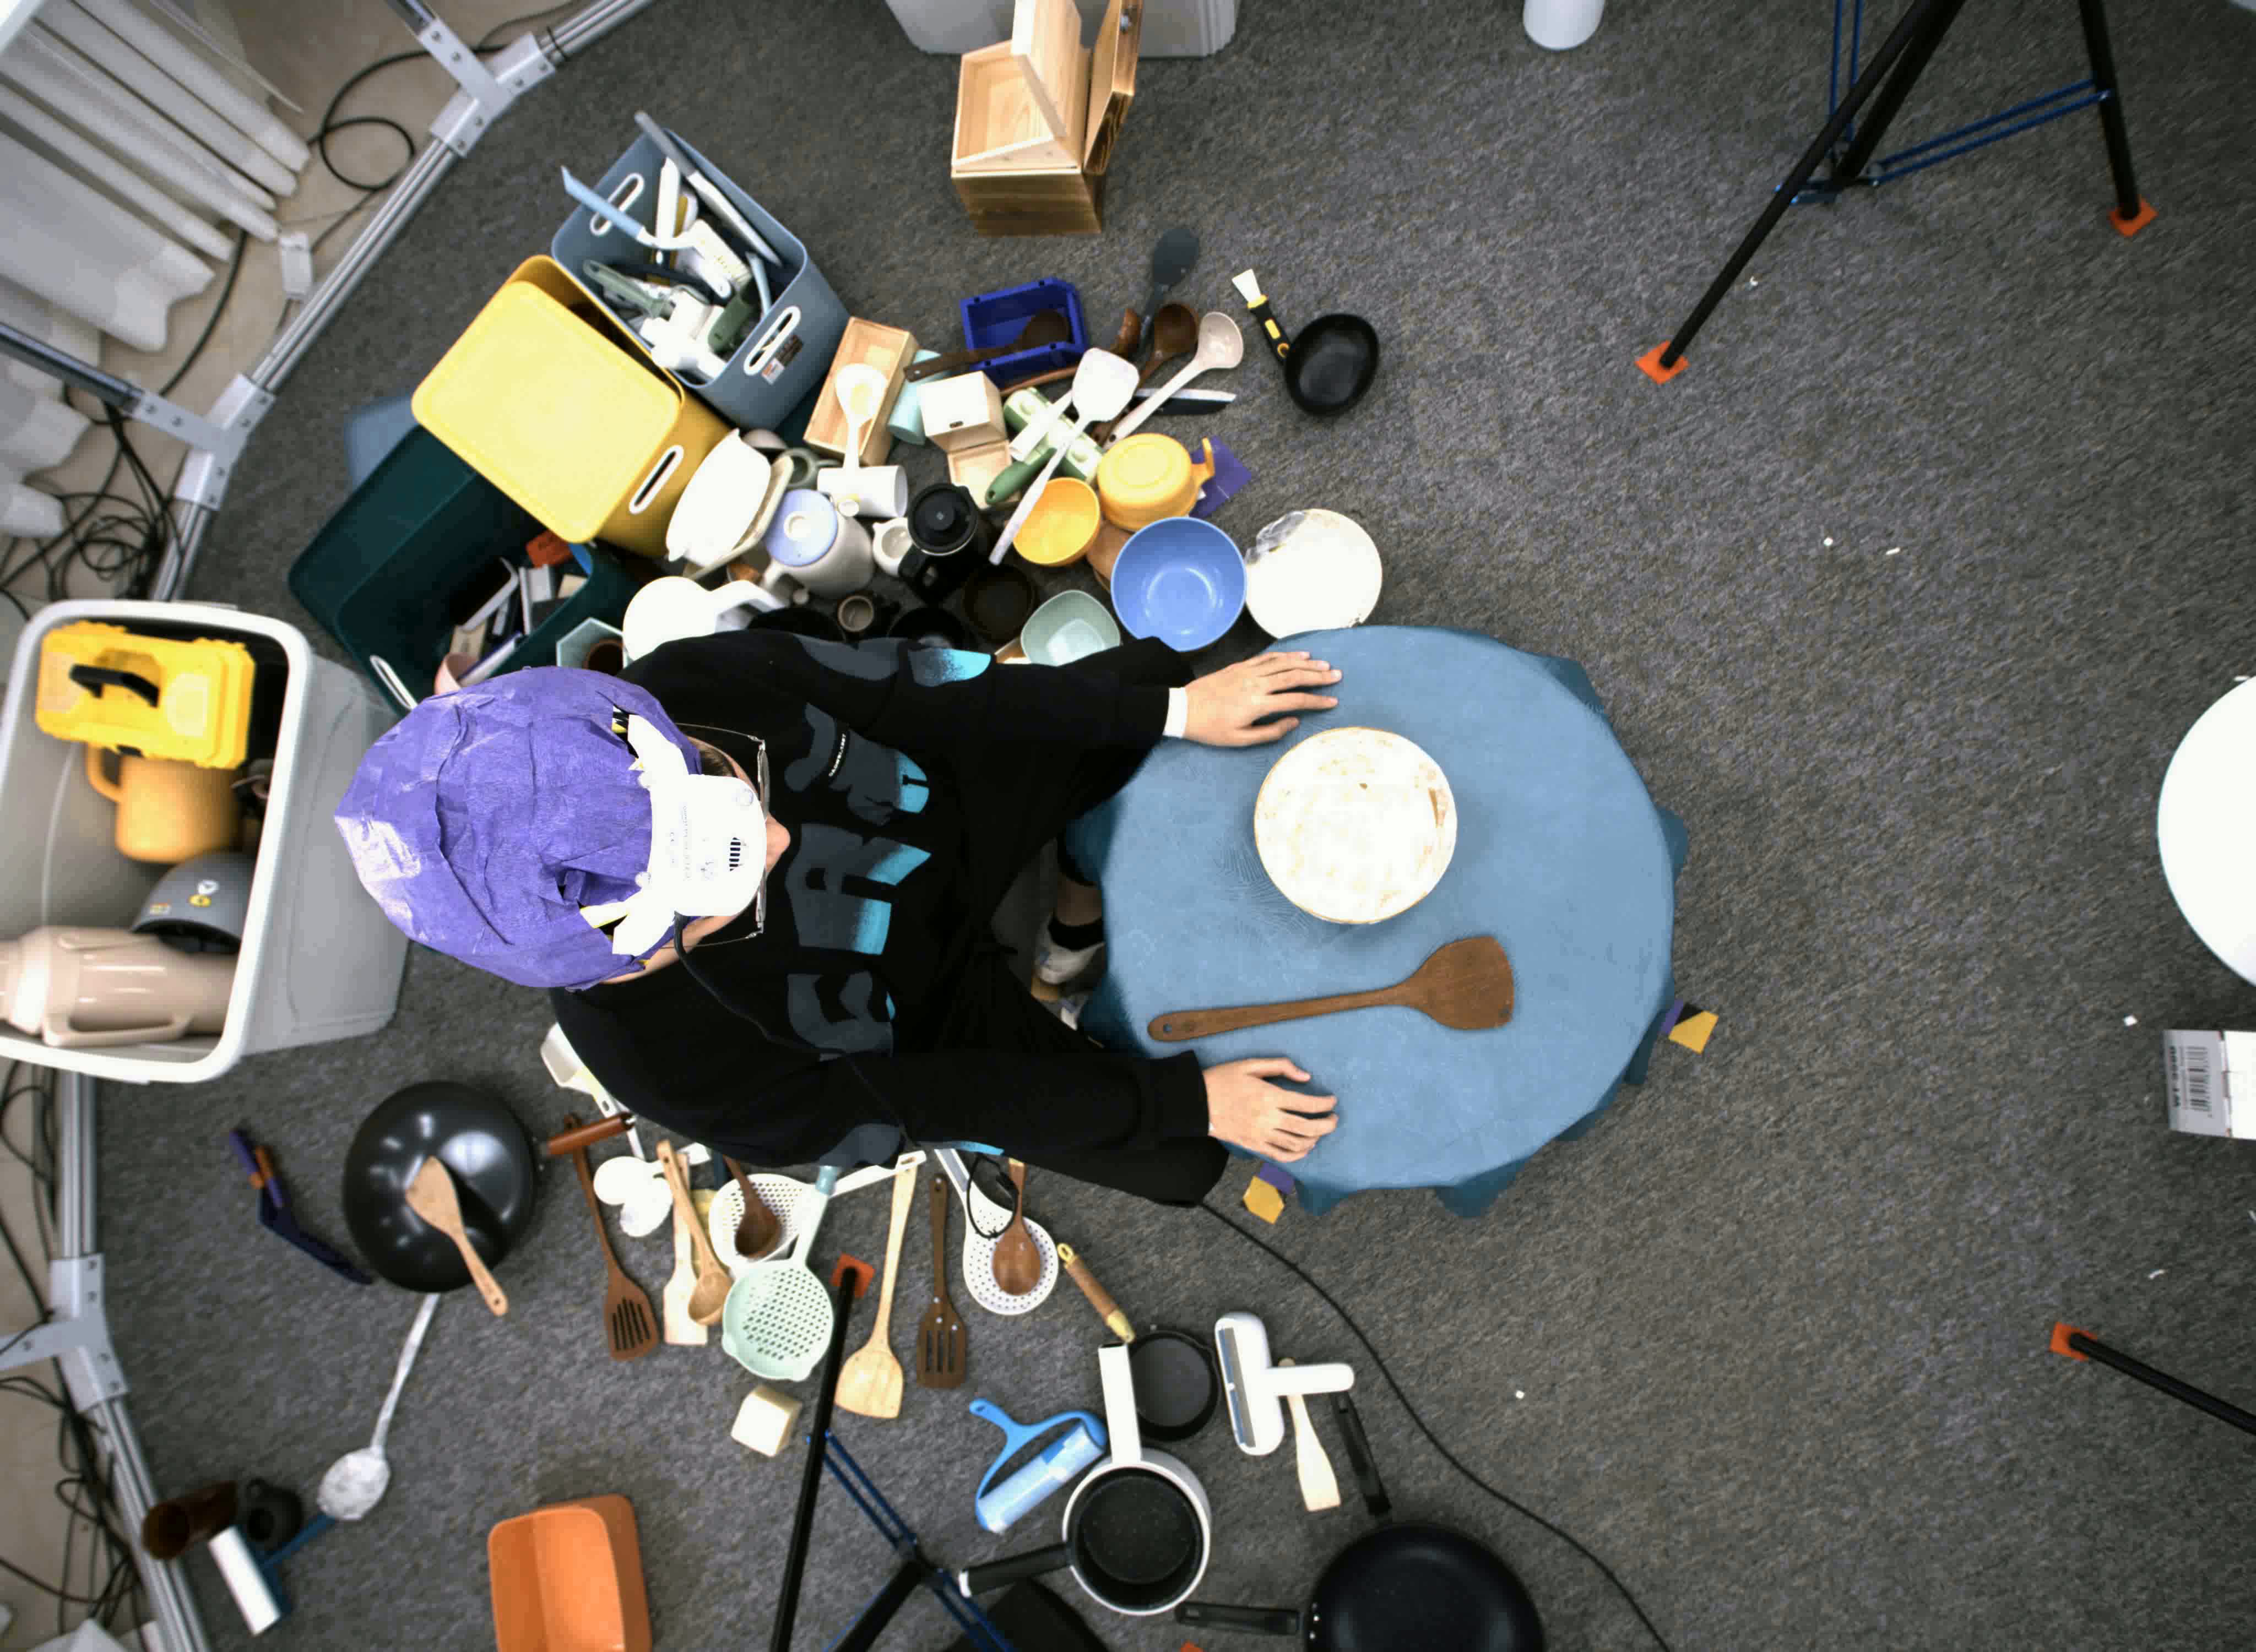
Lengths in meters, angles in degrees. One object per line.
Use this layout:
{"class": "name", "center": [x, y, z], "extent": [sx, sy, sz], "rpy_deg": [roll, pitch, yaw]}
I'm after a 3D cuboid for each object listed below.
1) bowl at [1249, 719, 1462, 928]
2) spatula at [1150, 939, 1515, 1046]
{"class": "bowl", "center": [0.235, 0.002, 1.429], "extent": [0.215, 0.094, 0.214], "rpy_deg": [-1, 87, 11]}
{"class": "spatula", "center": [0.212, 0.191, 1.460], "extent": [0.388, 0.016, 0.095], "rpy_deg": [-10, 84, 10]}
